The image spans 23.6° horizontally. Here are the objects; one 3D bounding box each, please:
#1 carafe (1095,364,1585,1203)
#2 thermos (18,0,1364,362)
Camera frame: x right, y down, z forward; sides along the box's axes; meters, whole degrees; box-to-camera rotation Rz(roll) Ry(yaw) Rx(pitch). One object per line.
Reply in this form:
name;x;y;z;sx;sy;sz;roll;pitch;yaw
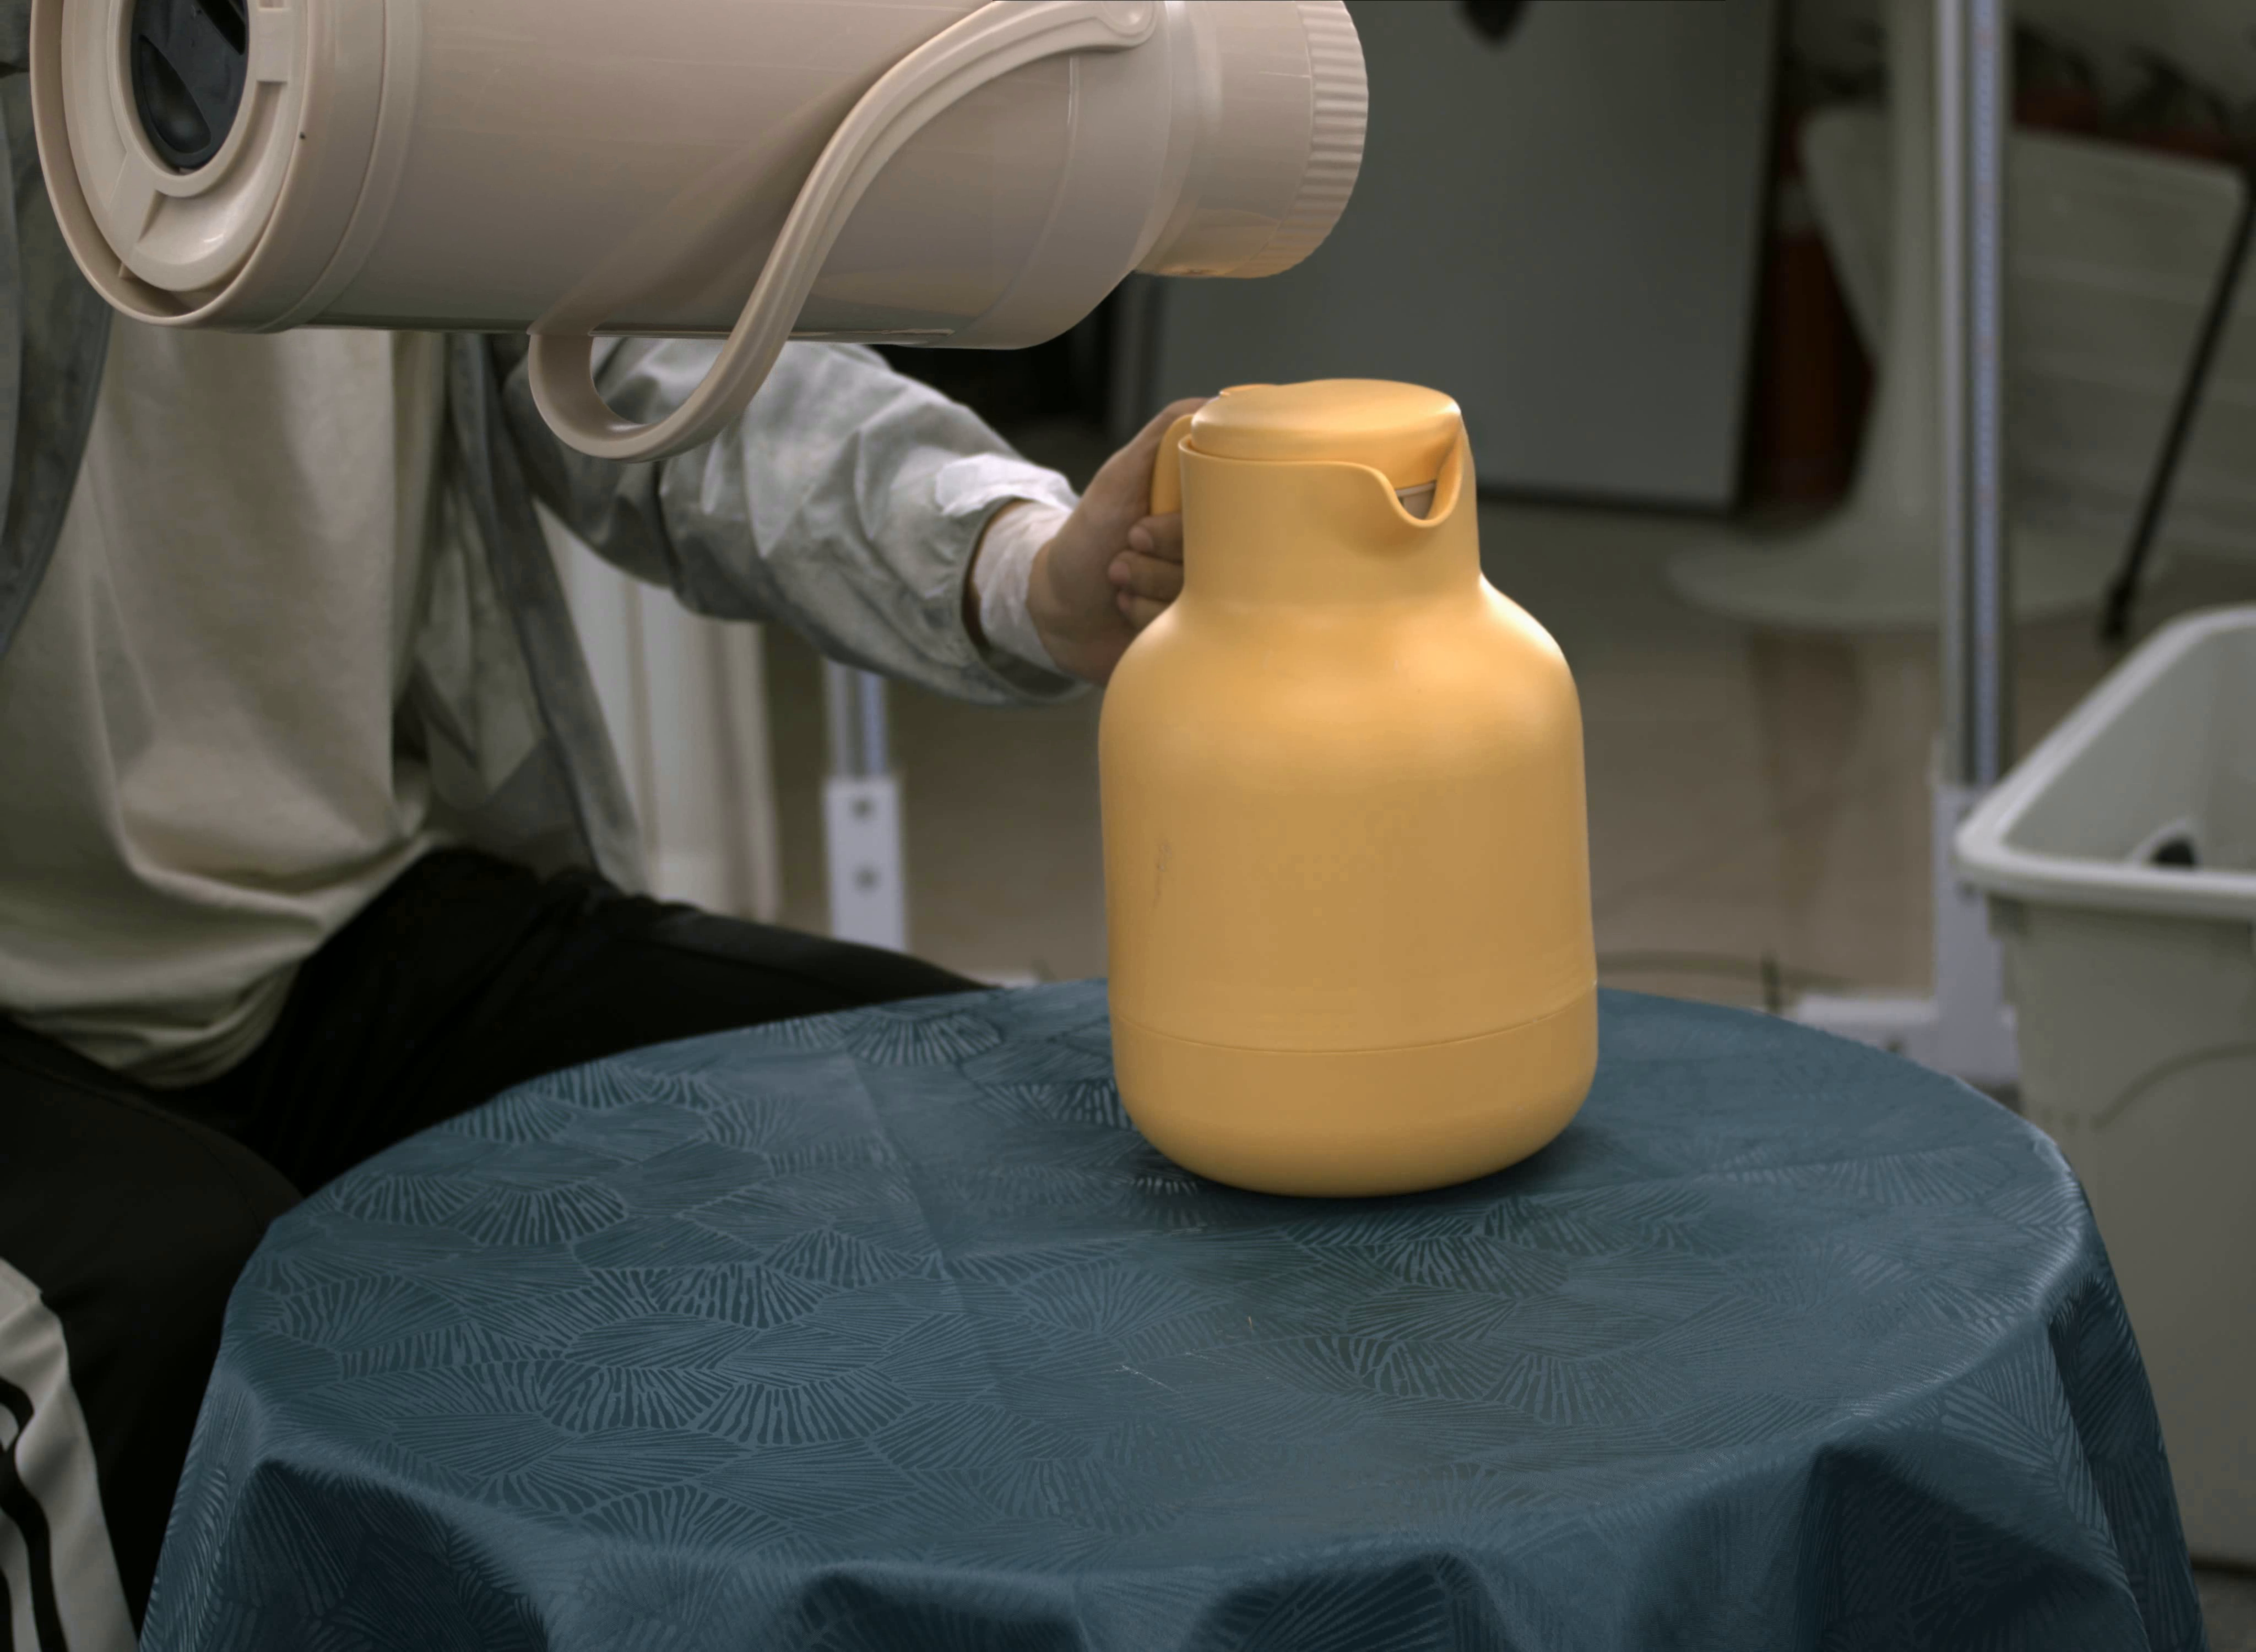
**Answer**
carafe;0.063;-0.022;1.788;0.160;0.263;0.204;-6;14;-20
thermos;-0.117;-0.239;1.609;0.397;0.210;0.177;-2;-12;-36
